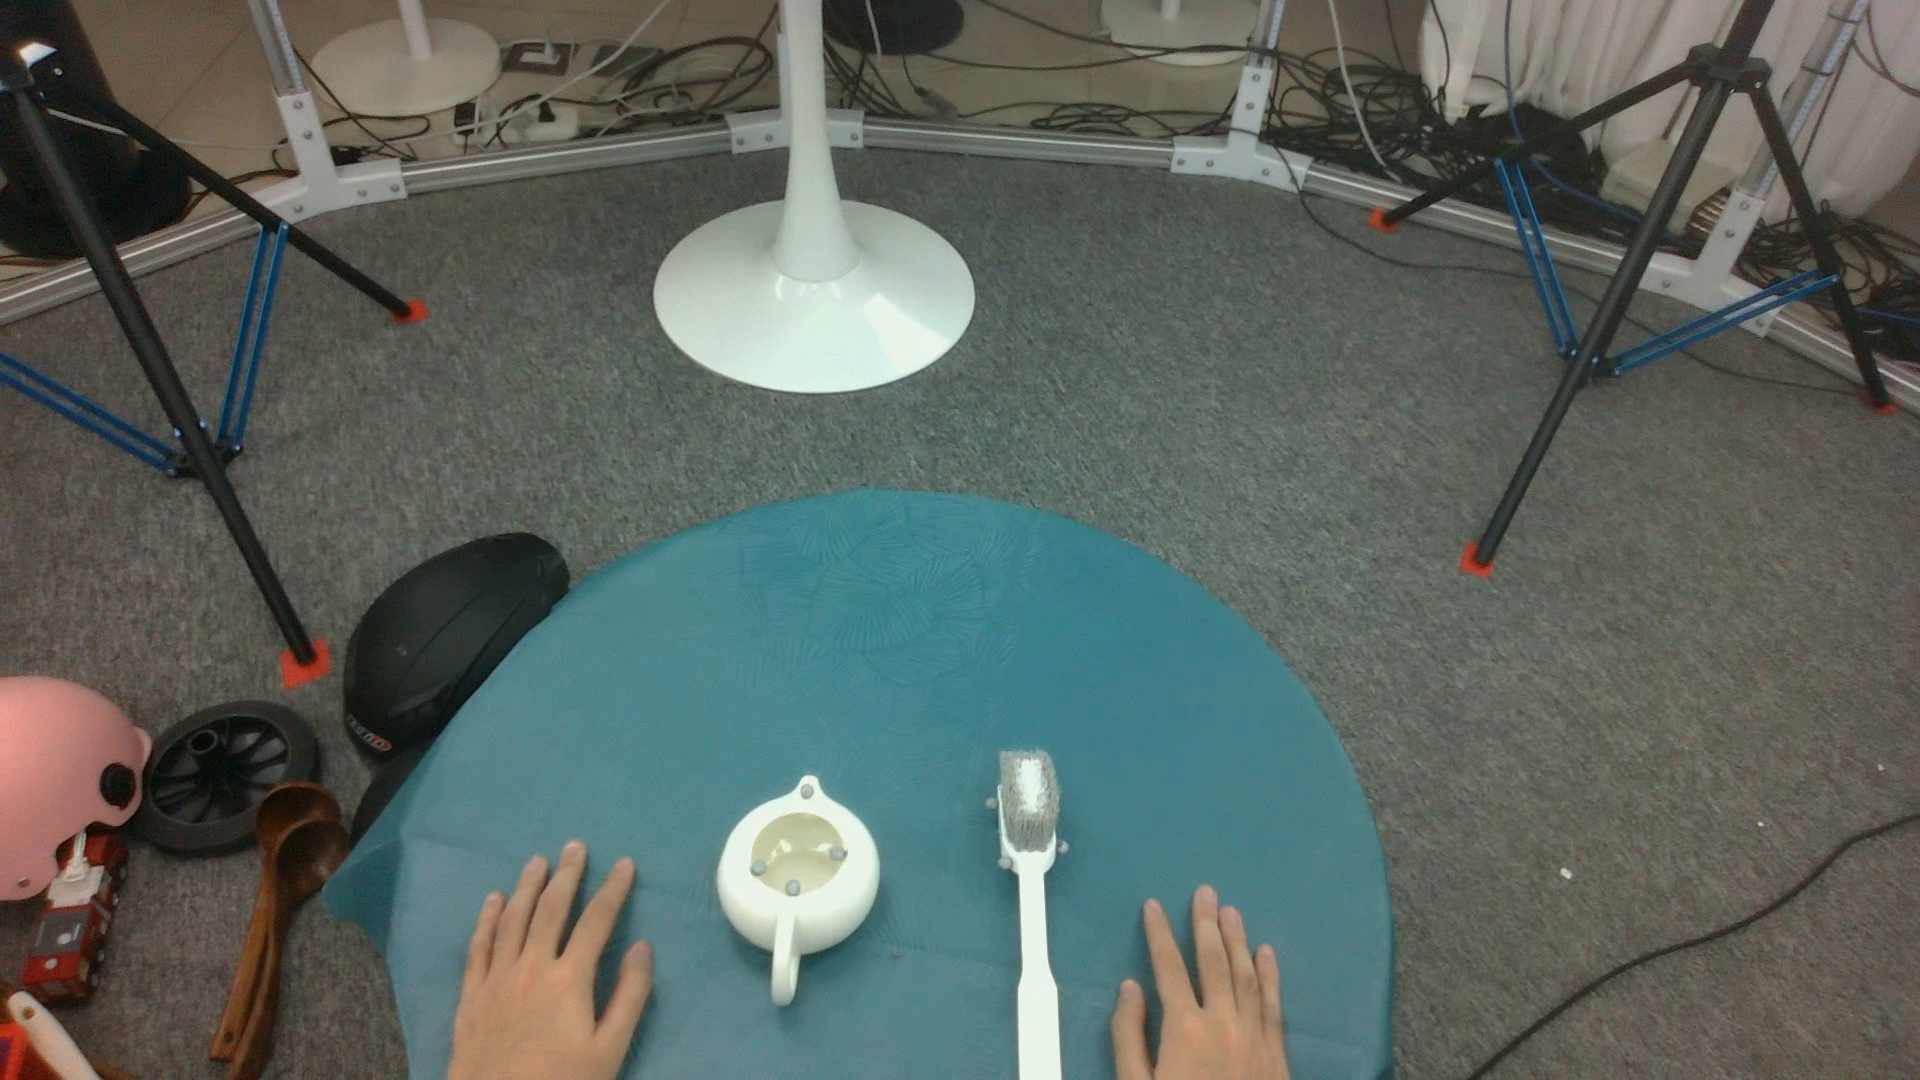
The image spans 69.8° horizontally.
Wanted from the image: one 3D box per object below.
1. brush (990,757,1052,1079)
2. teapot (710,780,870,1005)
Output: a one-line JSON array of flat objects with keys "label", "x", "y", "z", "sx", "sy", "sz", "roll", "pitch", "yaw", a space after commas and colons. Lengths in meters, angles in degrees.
[{"label": "brush", "x": 0.035, "y": 0.231, "z": 0.792, "sx": 0.034, "sy": 0.050, "sz": 0.245, "roll": 6, "pitch": 46, "yaw": -4}, {"label": "teapot", "x": -0.099, "y": 0.206, "z": 0.802, "sx": 0.093, "sy": 0.056, "sz": 0.128, "roll": 5, "pitch": 48, "yaw": -6}]
